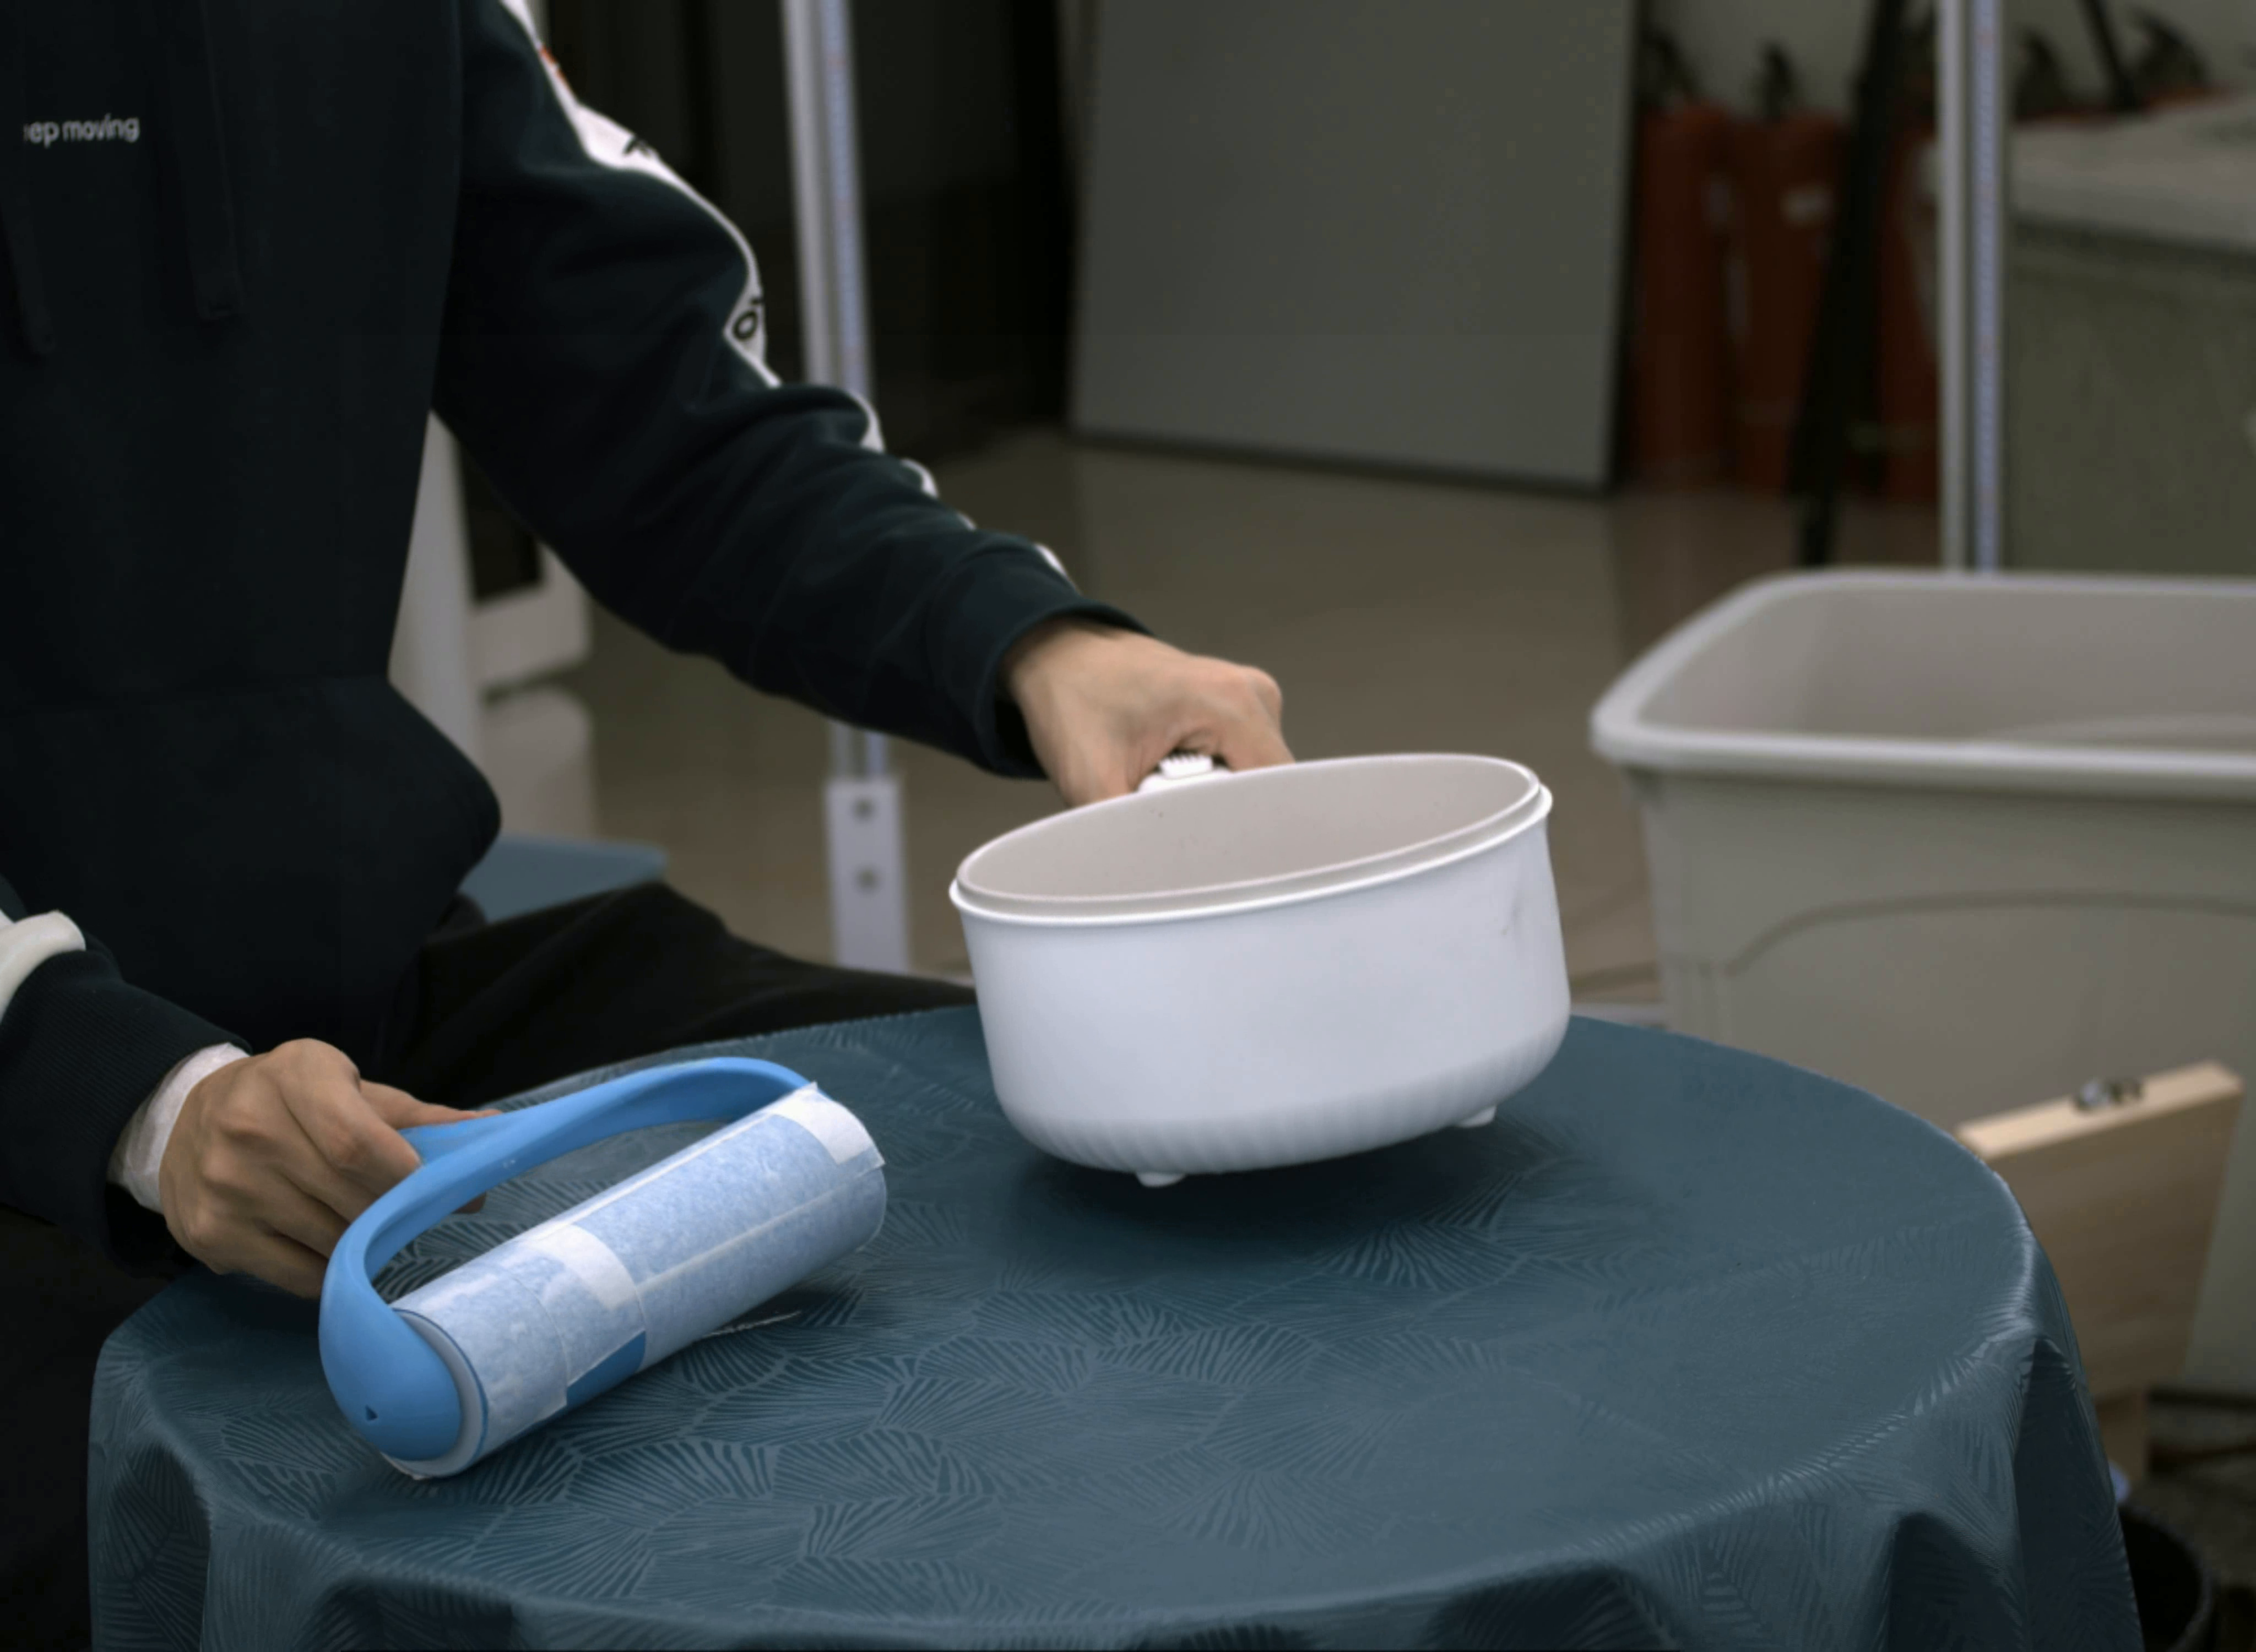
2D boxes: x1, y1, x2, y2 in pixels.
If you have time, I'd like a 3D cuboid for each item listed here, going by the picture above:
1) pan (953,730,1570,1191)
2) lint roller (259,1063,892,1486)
[{"bbox_3d":[0.039,0.038,1.848,0.198,0.103,0.356,-11,9,-4],"label":"pan"},{"bbox_3d":[-0.197,0.125,1.649,0.181,0.068,0.225,11,25,31],"label":"lint roller"}]
